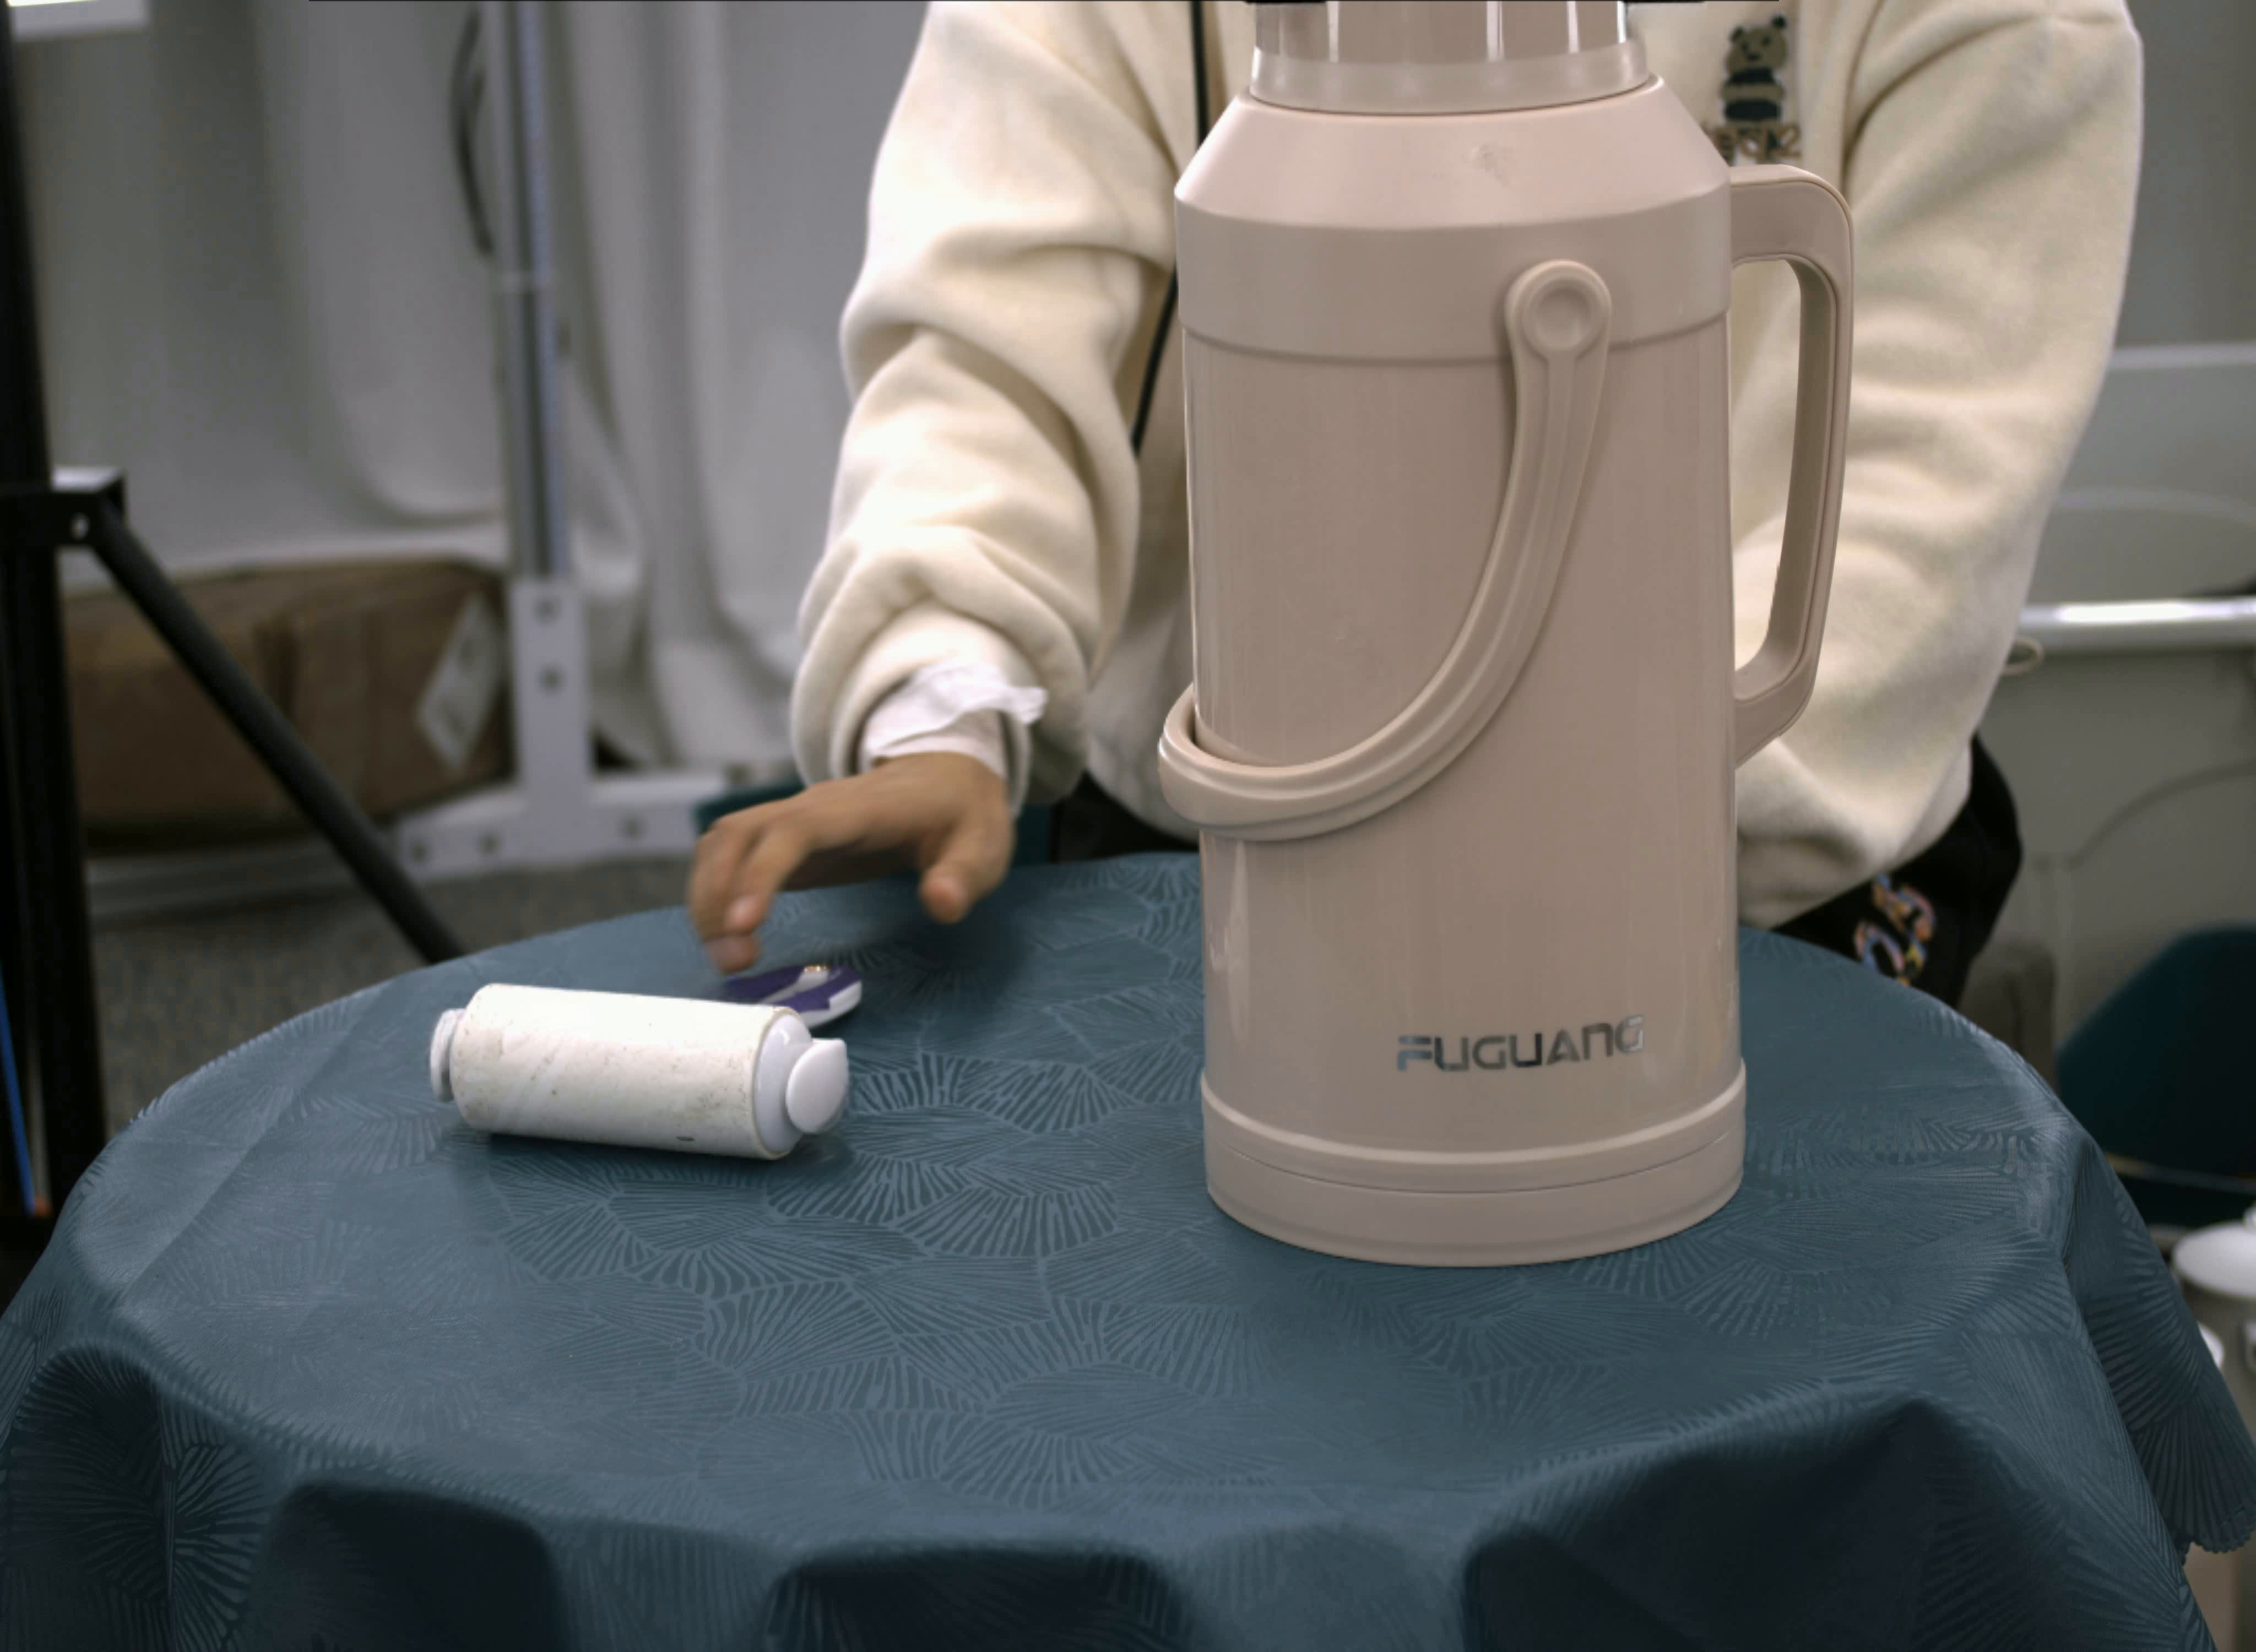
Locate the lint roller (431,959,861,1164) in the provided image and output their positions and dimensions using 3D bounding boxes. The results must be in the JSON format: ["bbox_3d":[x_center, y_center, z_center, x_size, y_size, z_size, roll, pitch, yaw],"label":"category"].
[{"bbox_3d":[-0.125,0.057,1.673,0.135,0.050,0.178,3,19,23],"label":"lint roller"}]

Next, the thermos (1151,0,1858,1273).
[{"bbox_3d":[0.107,-0.088,1.508,0.204,0.406,0.178,-6,15,-14],"label":"thermos"}]
